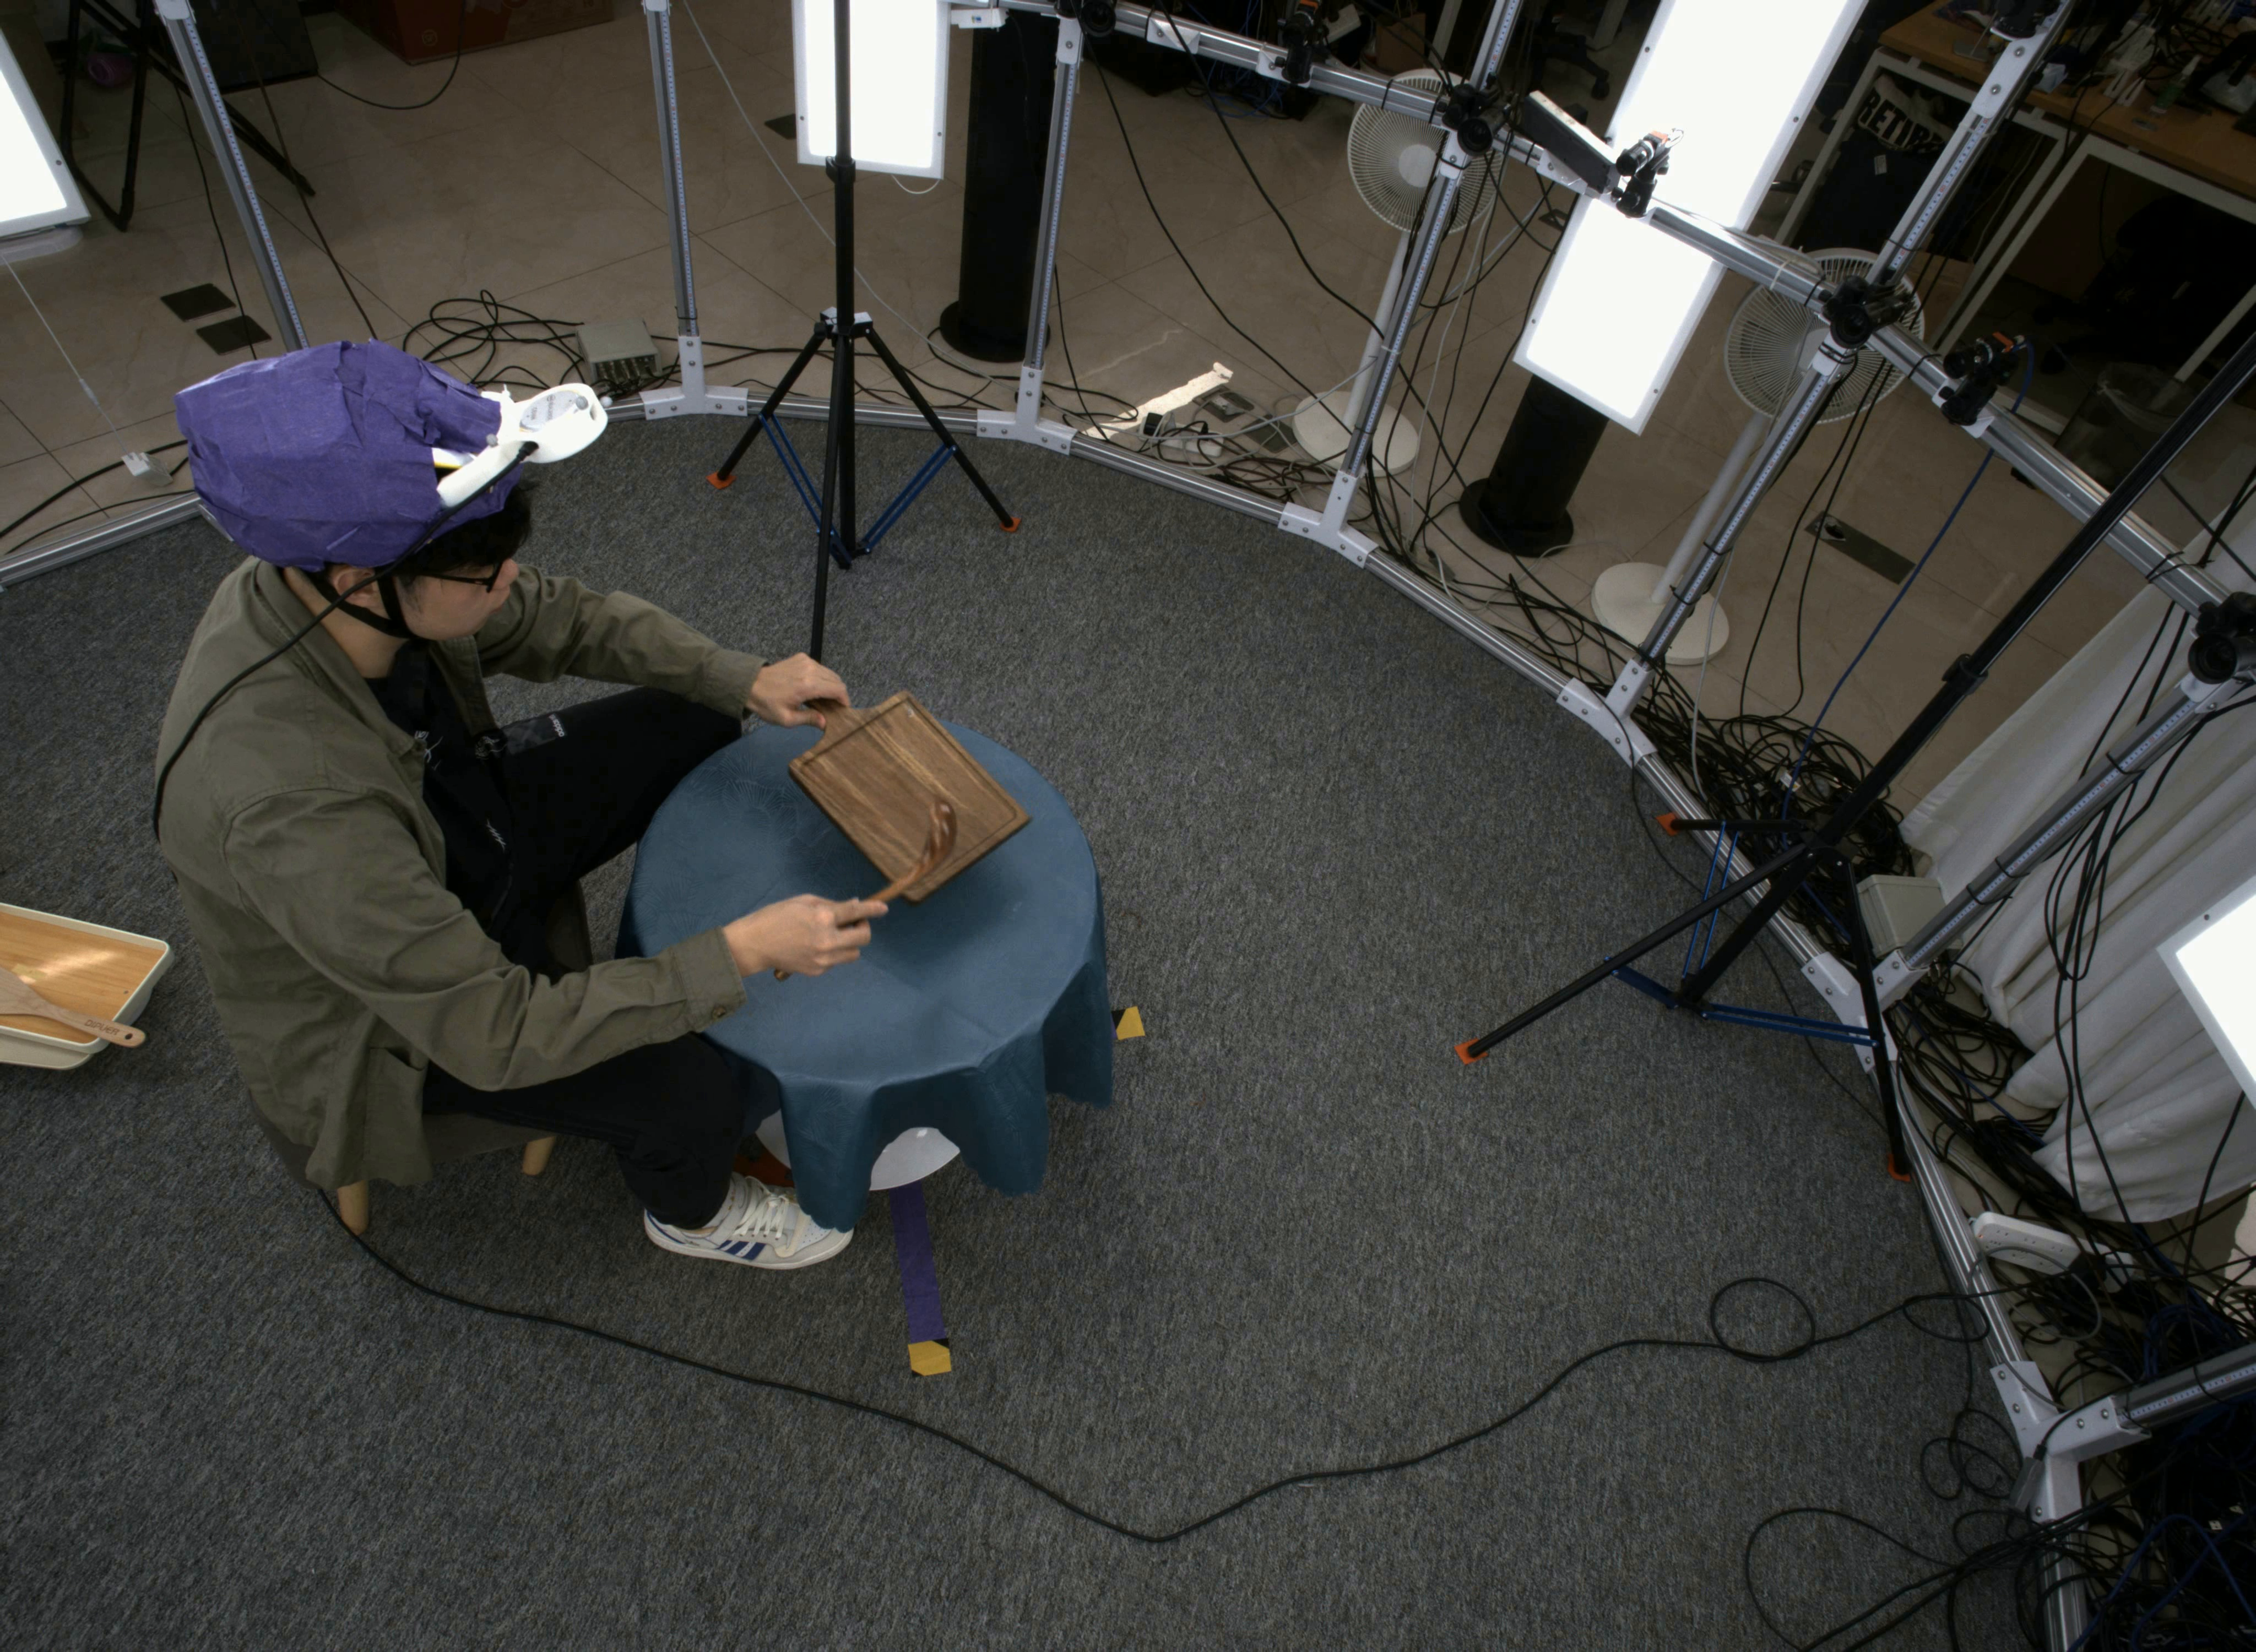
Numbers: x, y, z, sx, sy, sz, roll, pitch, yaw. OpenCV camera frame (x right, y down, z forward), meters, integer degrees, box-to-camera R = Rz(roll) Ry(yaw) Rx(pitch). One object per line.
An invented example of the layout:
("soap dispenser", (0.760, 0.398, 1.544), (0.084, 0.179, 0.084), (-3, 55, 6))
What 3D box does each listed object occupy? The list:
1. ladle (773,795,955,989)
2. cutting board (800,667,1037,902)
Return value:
("ladle", (-0.304, 0.067, 1.467), (0.274, 0.083, 0.075), (-37, 76, -14))
("cutting board", (-0.301, -0.081, 1.678), (0.347, 0.023, 0.201), (46, 60, 10))
